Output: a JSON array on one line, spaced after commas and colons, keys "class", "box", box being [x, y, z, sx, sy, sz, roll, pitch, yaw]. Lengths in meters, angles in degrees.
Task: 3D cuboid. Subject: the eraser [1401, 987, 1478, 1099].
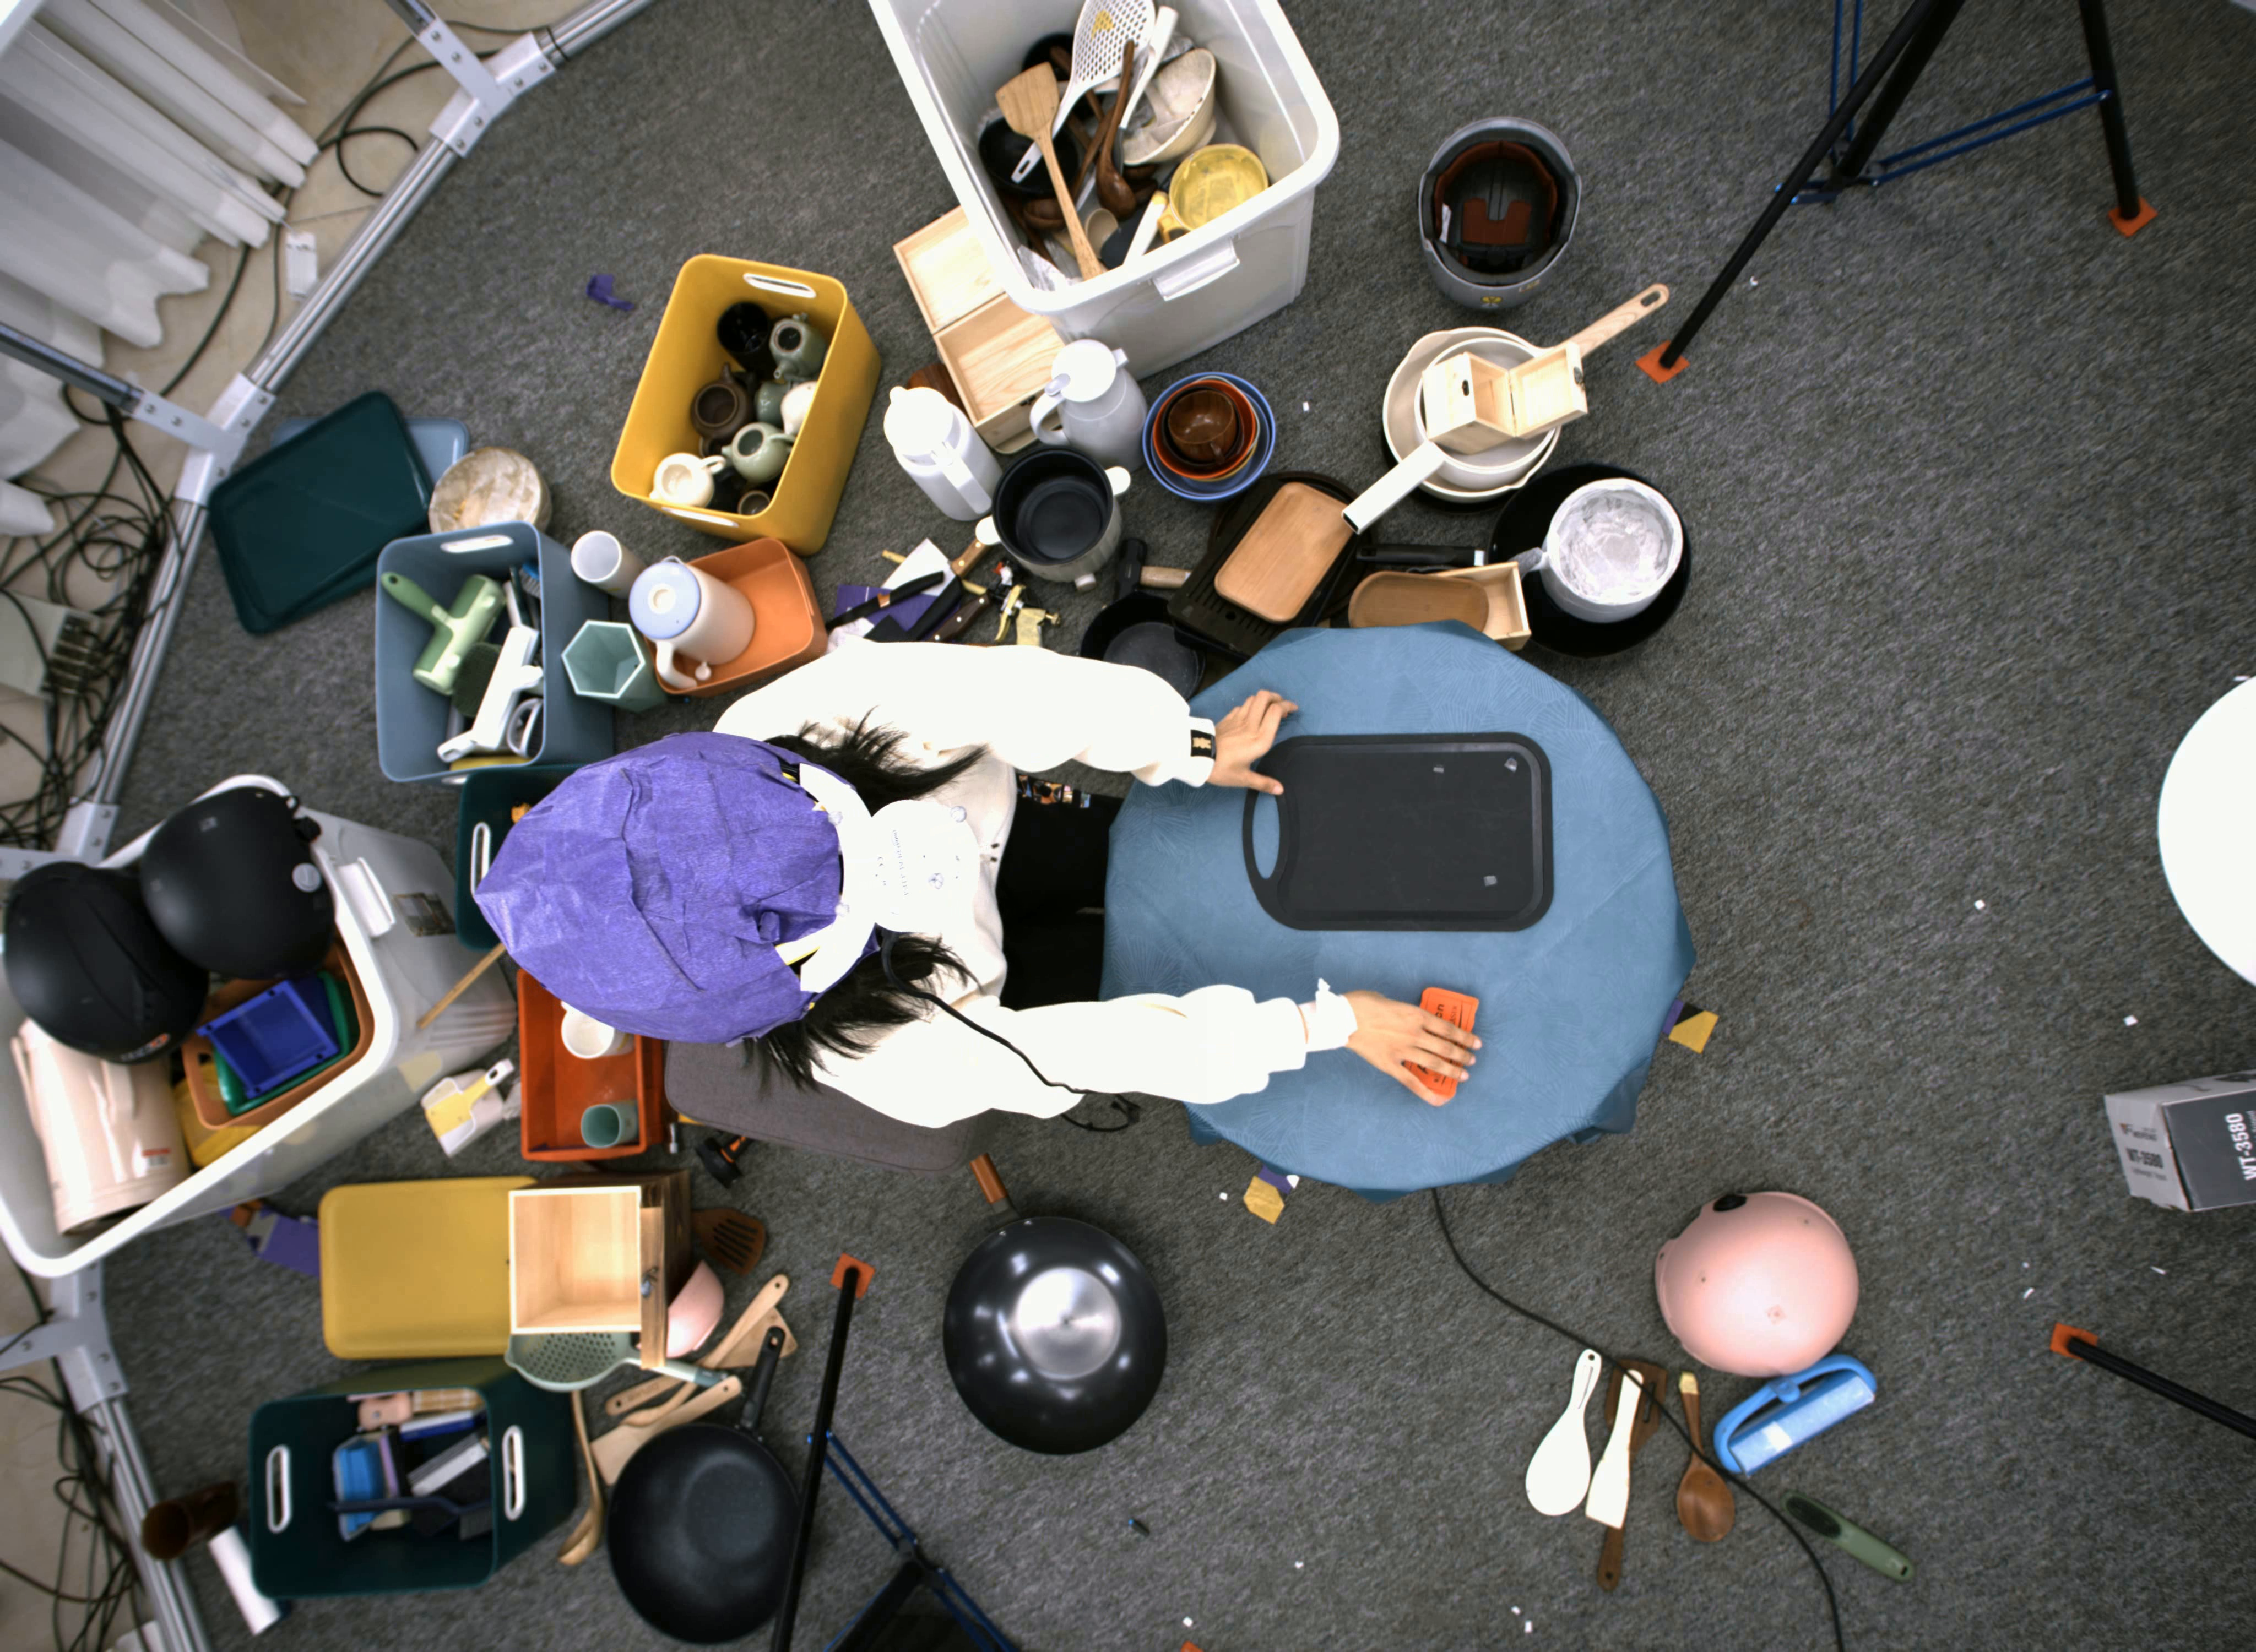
[{"class": "eraser", "box": [0.322, 0.222, 1.430, 0.059, 0.023, 0.108, 15, 89, 11]}]

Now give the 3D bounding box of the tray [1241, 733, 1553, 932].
[{"class": "tray", "box": [0.282, 0.004, 1.458, 0.327, 0.010, 0.210, 0, 87, 11]}]
